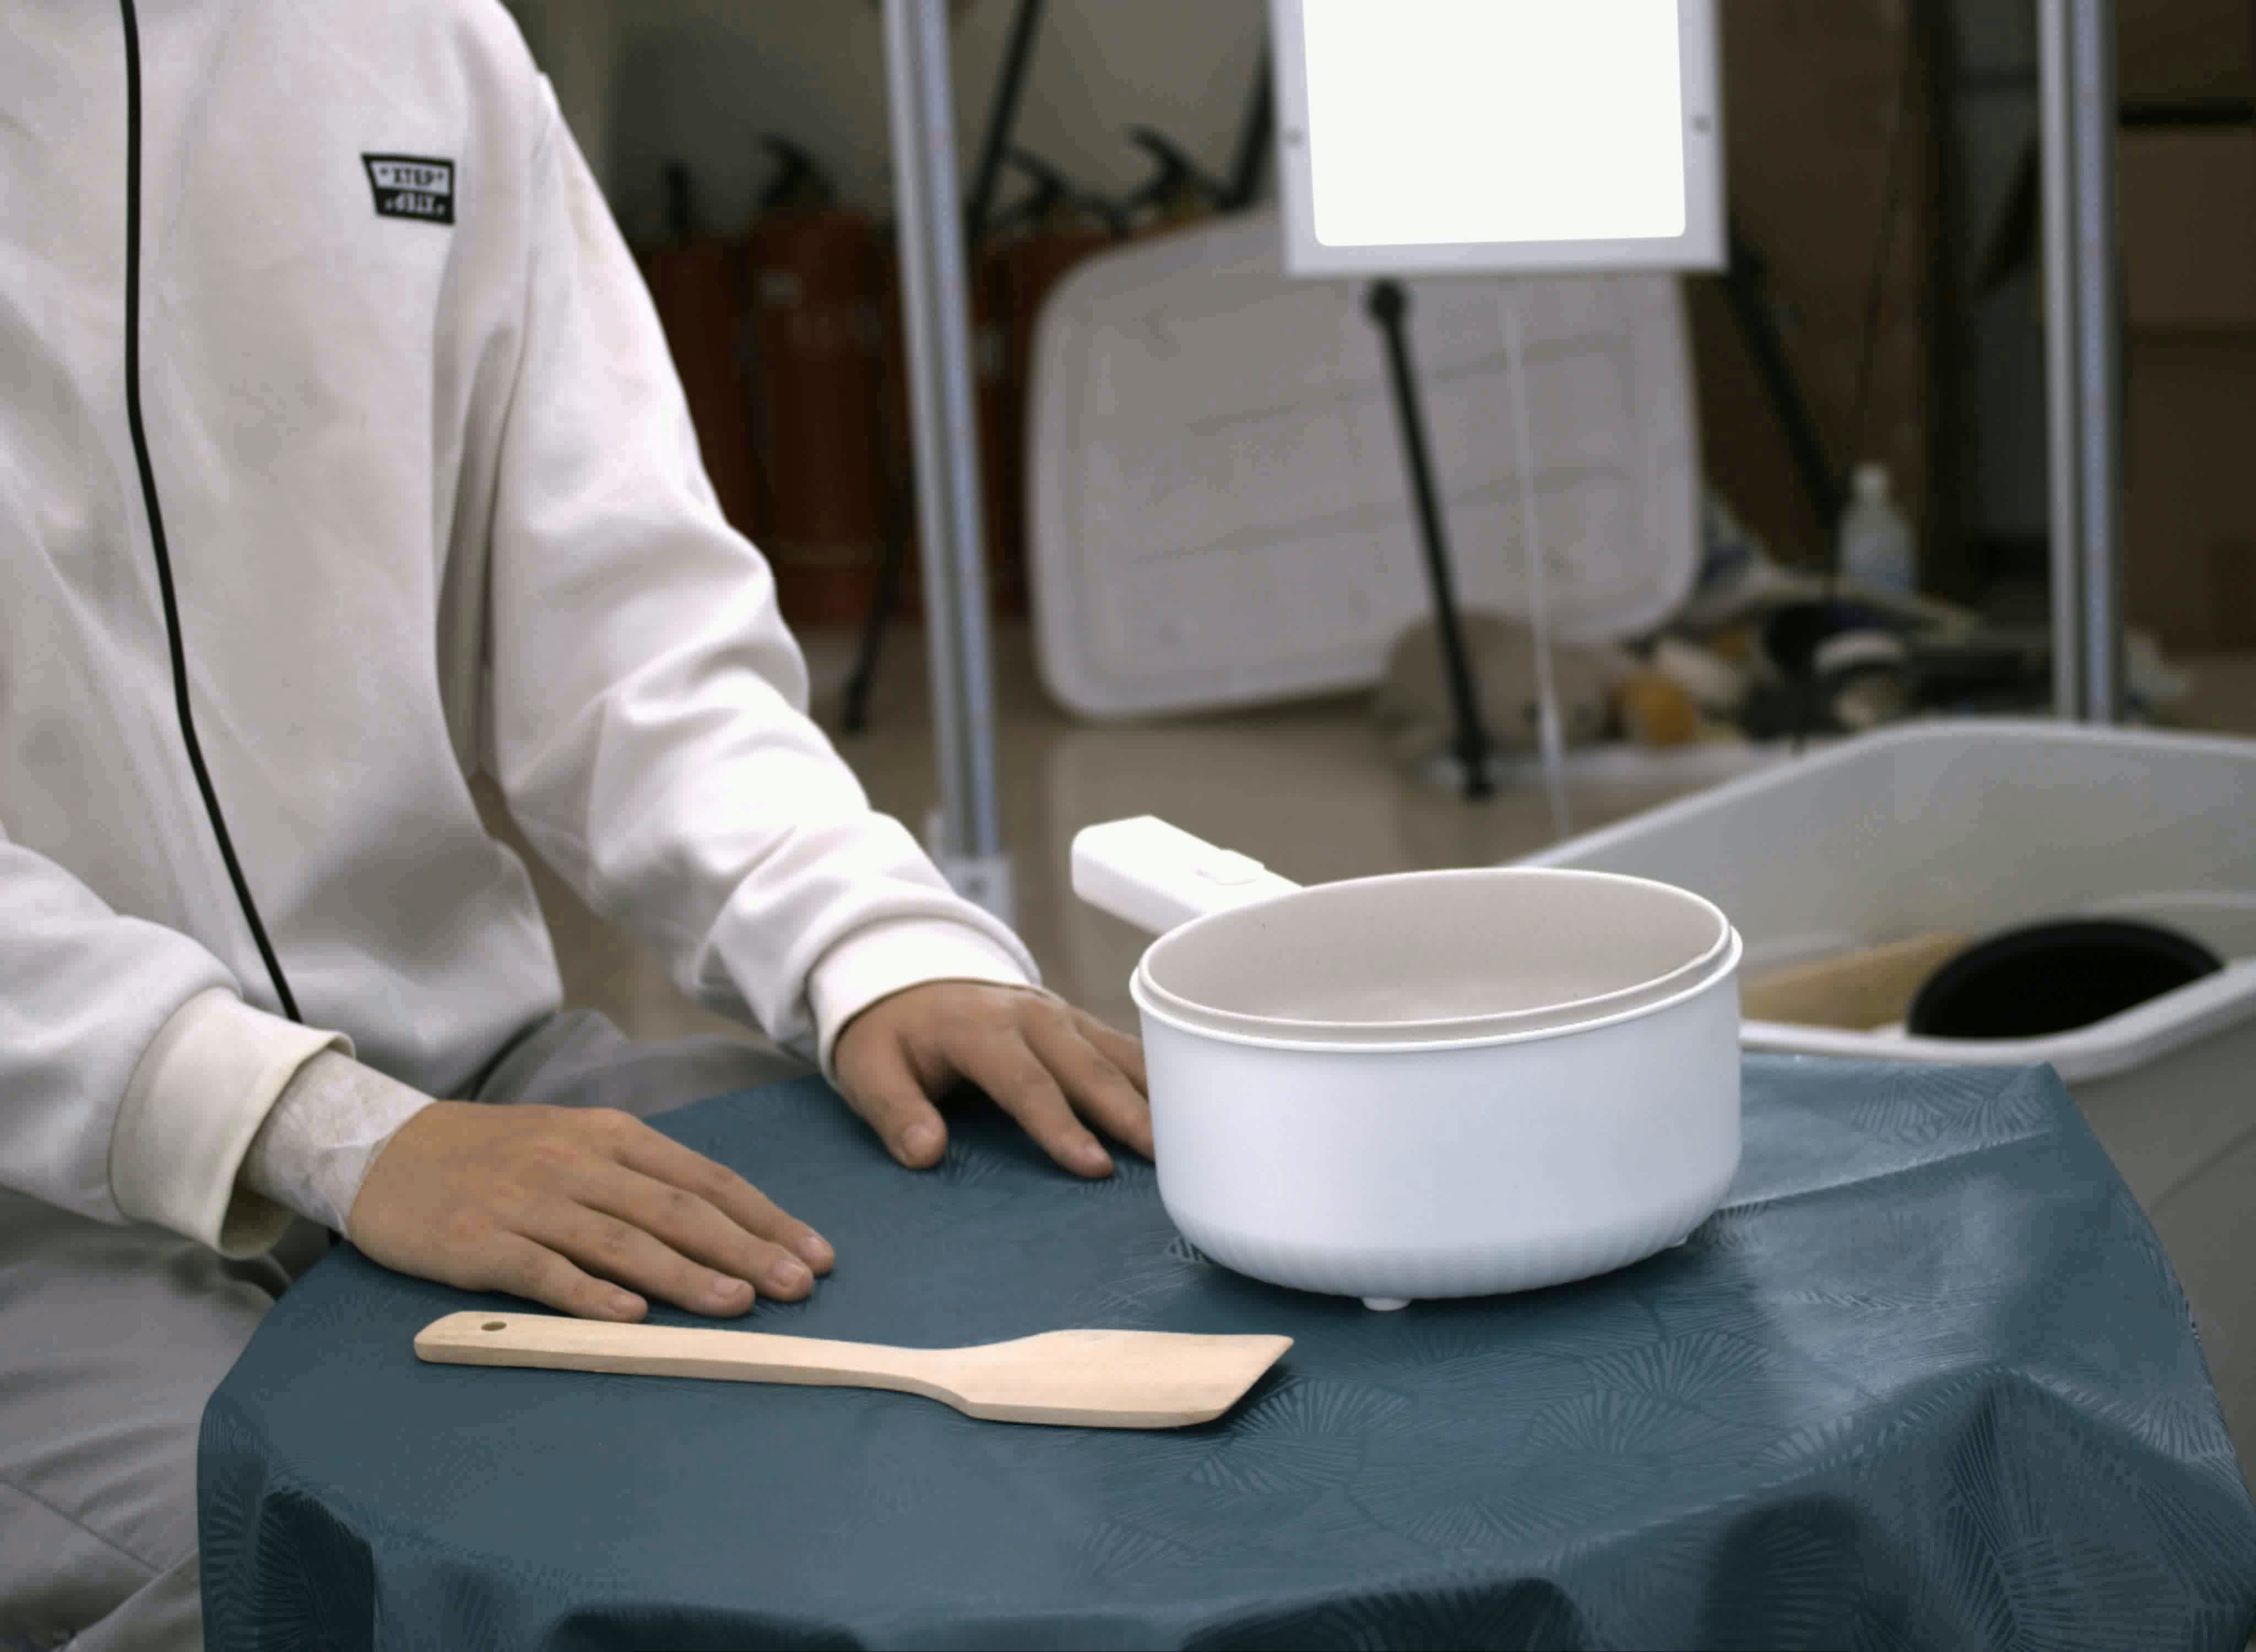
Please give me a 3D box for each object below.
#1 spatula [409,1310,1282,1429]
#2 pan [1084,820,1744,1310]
[{"bbox_3d":[-0.097,0.169,1.742,0.297,0.011,0.071,1,16,24],"label":"spatula"},{"bbox_3d":[0.074,0.074,1.880,0.197,0.102,0.360,-11,14,-22],"label":"pan"}]
